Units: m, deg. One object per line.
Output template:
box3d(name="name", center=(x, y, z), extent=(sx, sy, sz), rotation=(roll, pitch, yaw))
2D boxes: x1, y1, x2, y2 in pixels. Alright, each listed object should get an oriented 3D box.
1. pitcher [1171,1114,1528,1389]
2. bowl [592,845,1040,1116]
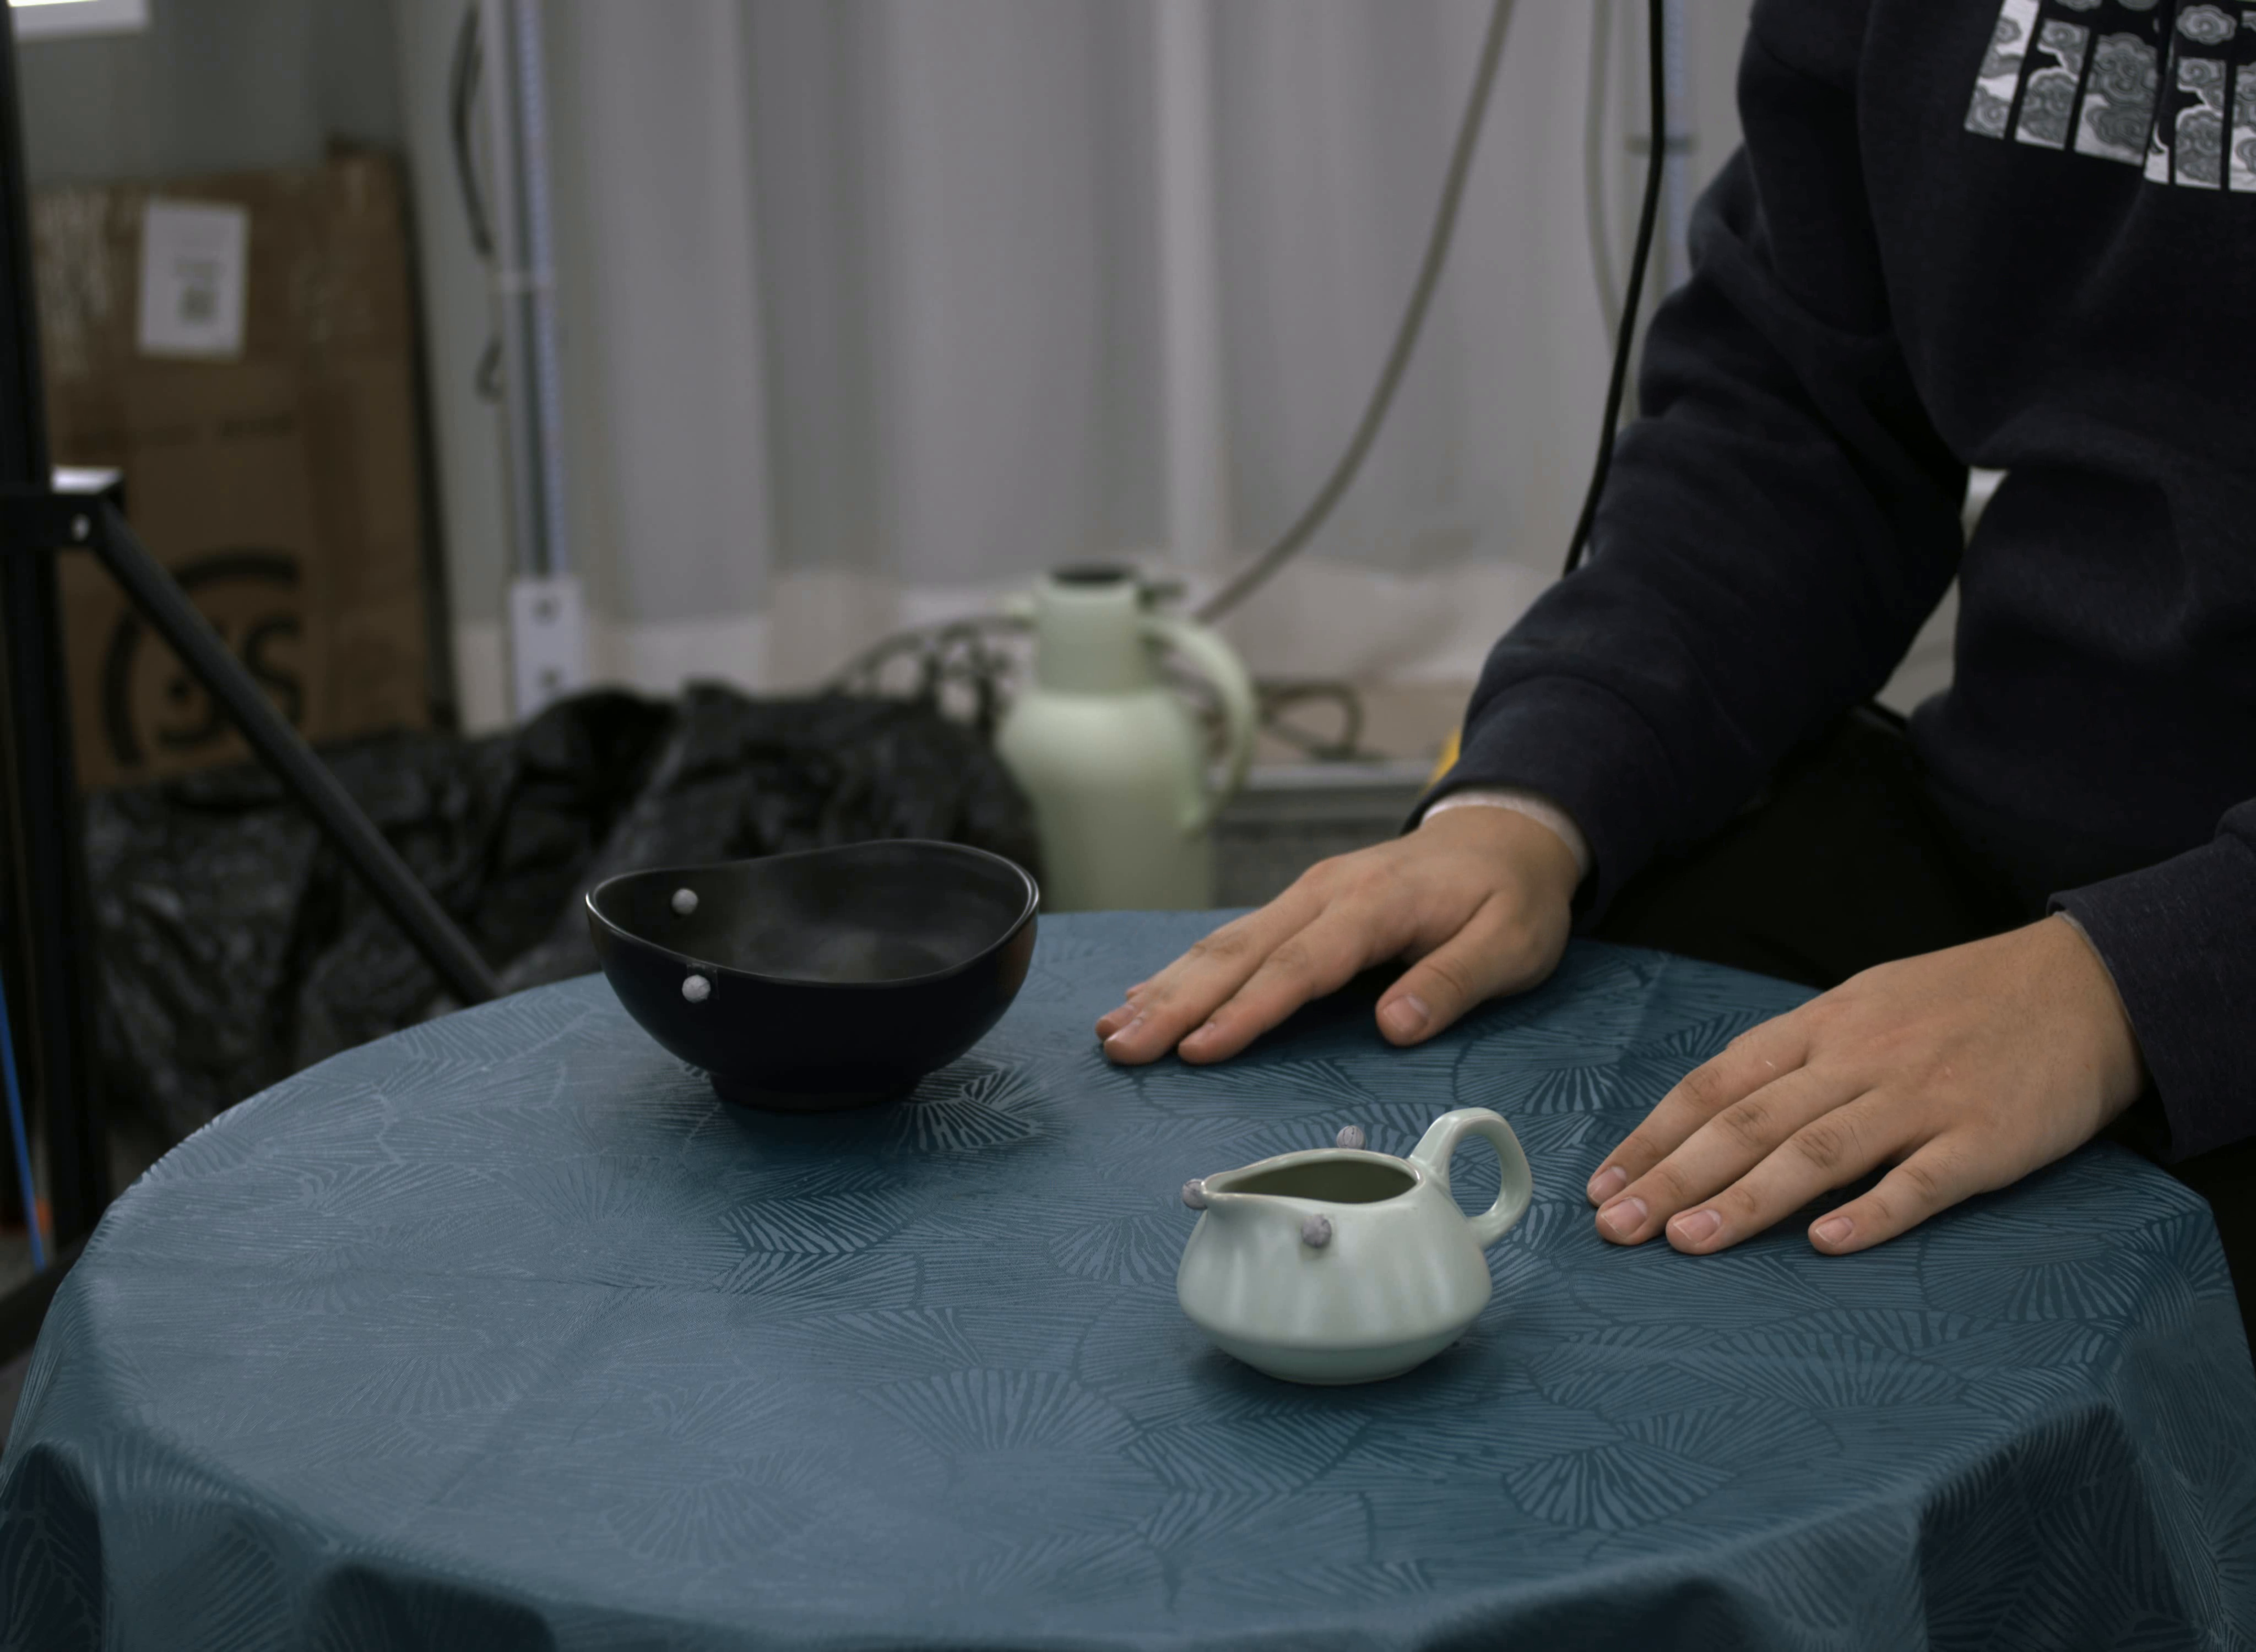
box3d(name="pitcher", center=(0.064, 0.114, 1.426), extent=(0.105, 0.060, 0.088), rotation=(-10, 18, -34))
box3d(name="bowl", center=(-0.098, 0.051, 1.660), extent=(0.135, 0.067, 0.173), rotation=(-7, 16, -20))
